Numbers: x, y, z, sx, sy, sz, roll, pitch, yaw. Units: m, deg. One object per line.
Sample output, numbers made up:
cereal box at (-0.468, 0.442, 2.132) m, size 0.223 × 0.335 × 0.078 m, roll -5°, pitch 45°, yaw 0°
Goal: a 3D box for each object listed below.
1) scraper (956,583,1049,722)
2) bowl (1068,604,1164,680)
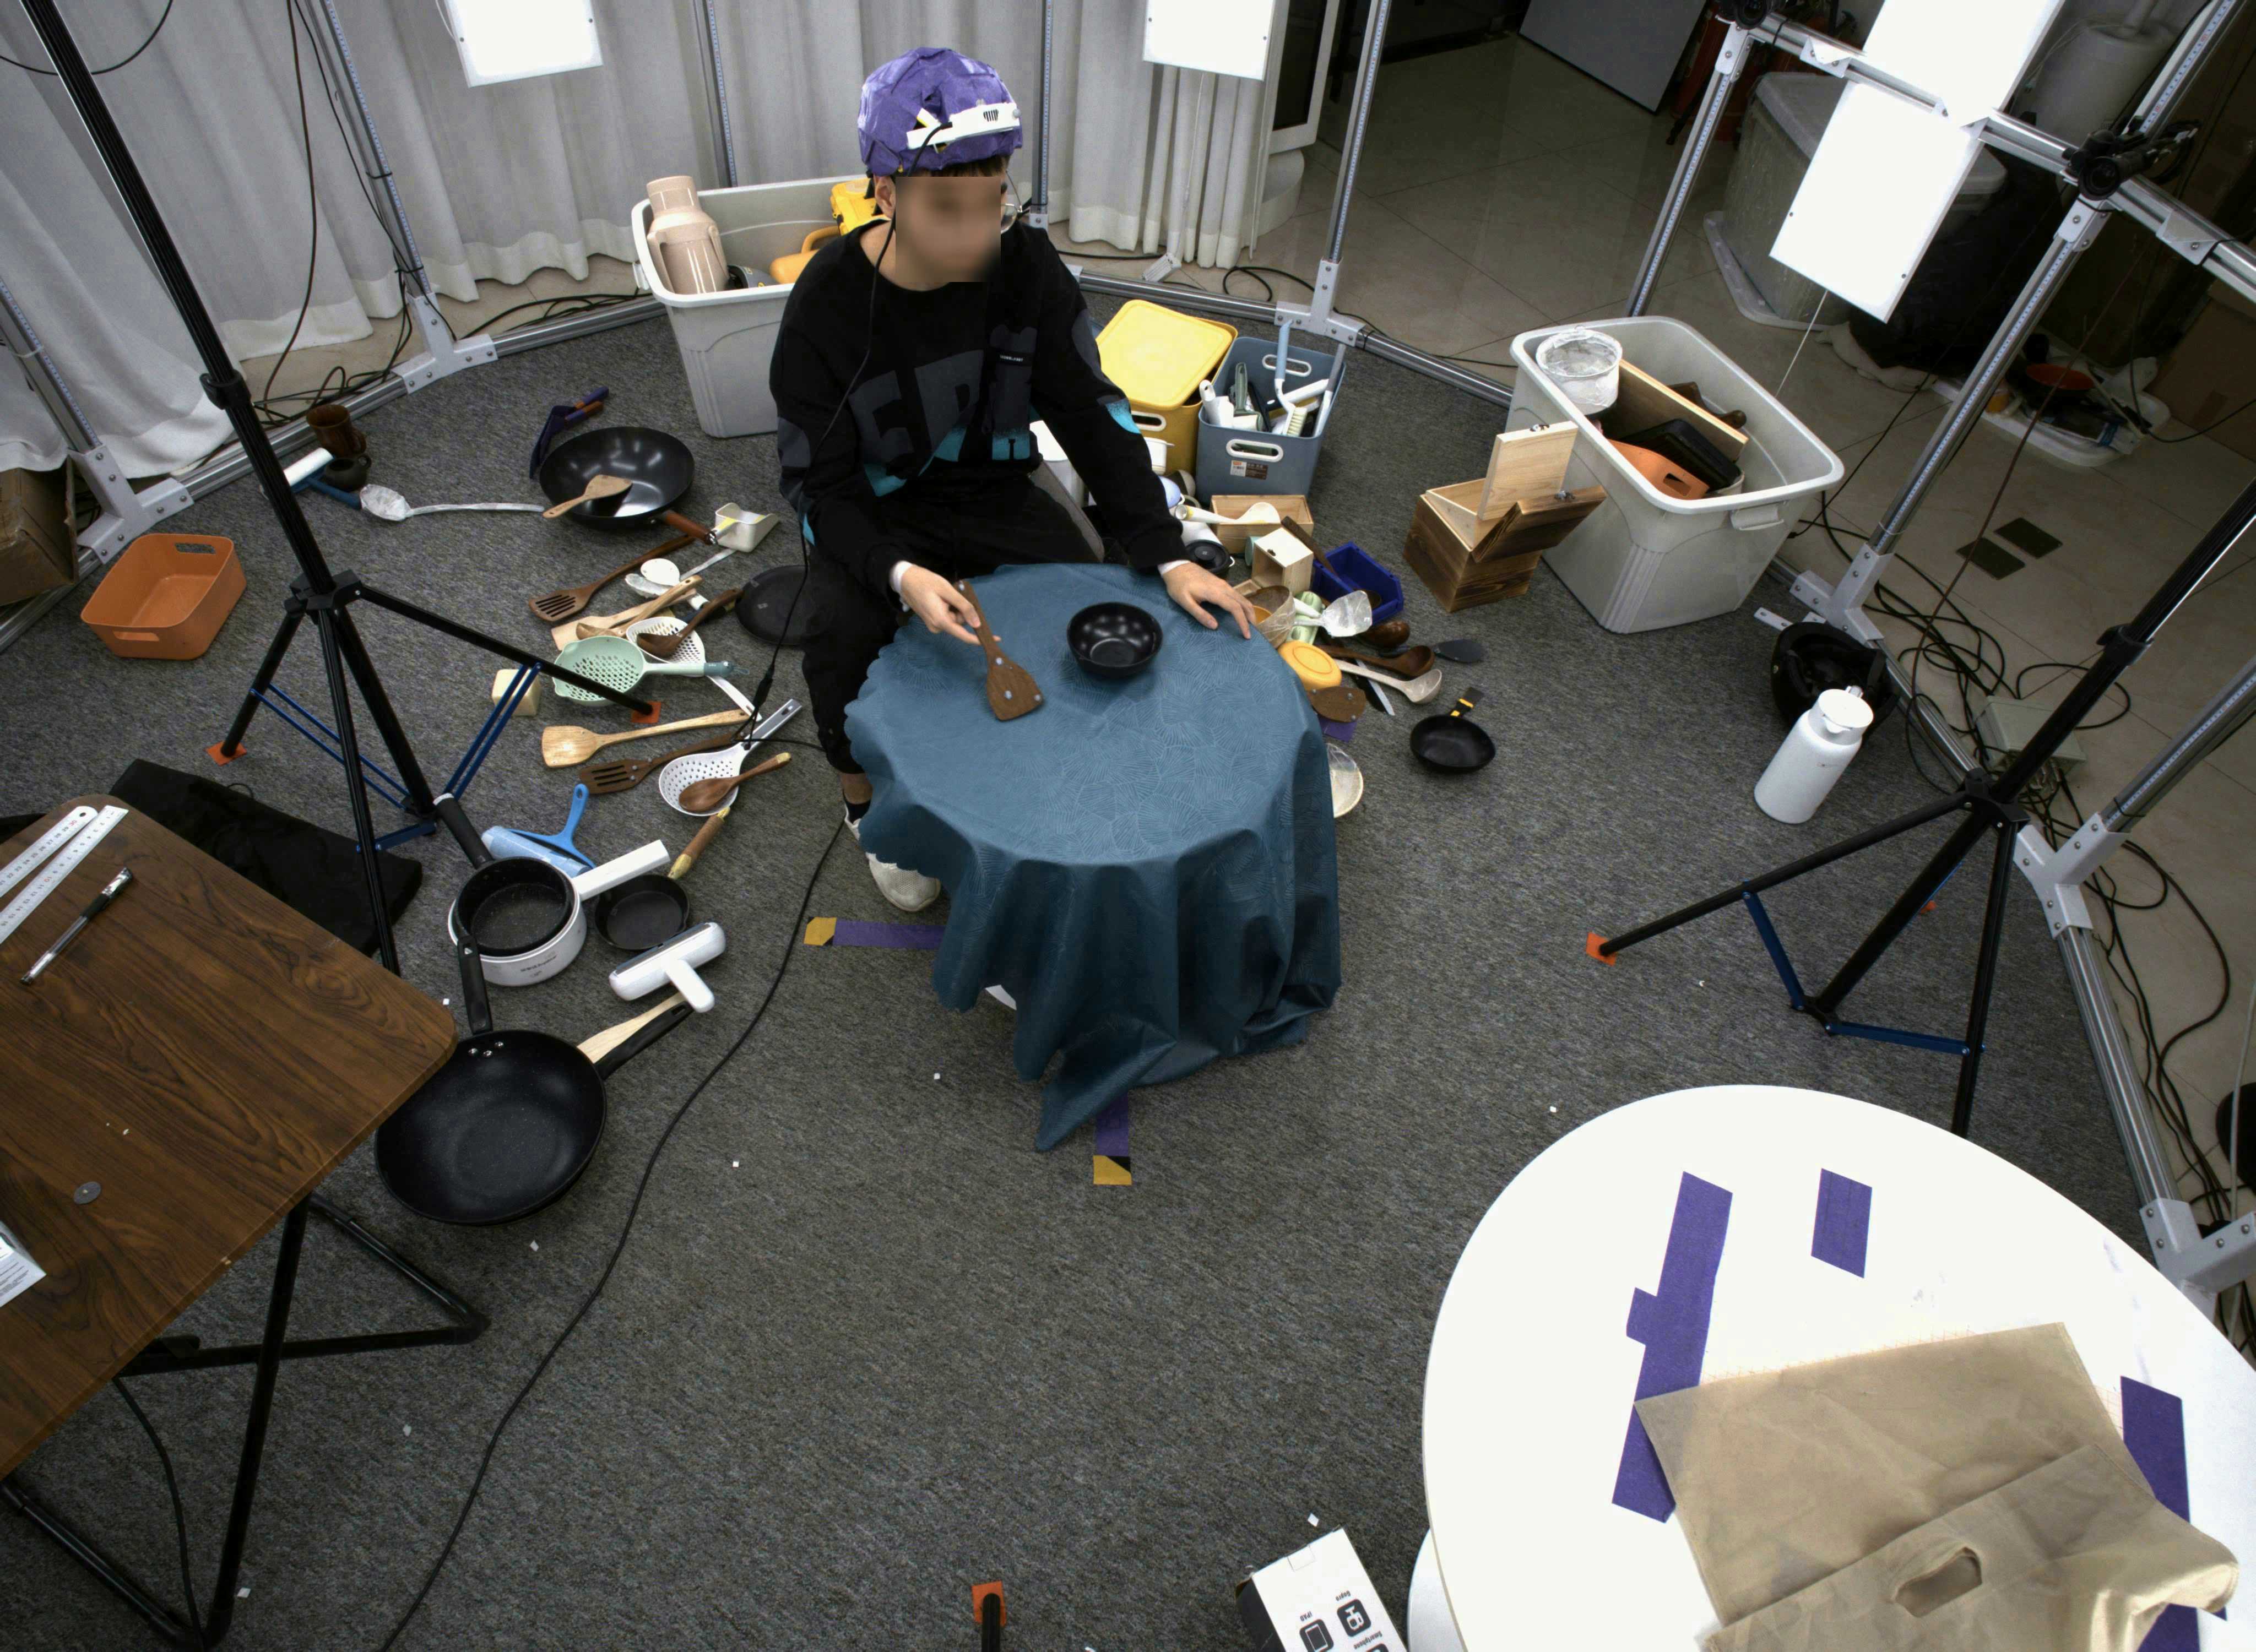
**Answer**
scraper at (-0.187, -0.248, 1.817) m, size 0.076 × 0.011 × 0.212 m, roll -25°, pitch 82°, yaw -16°
bowl at (-0.017, -0.261, 1.879) m, size 0.140 × 0.048 × 0.143 m, roll 0°, pitch 50°, yaw -1°
